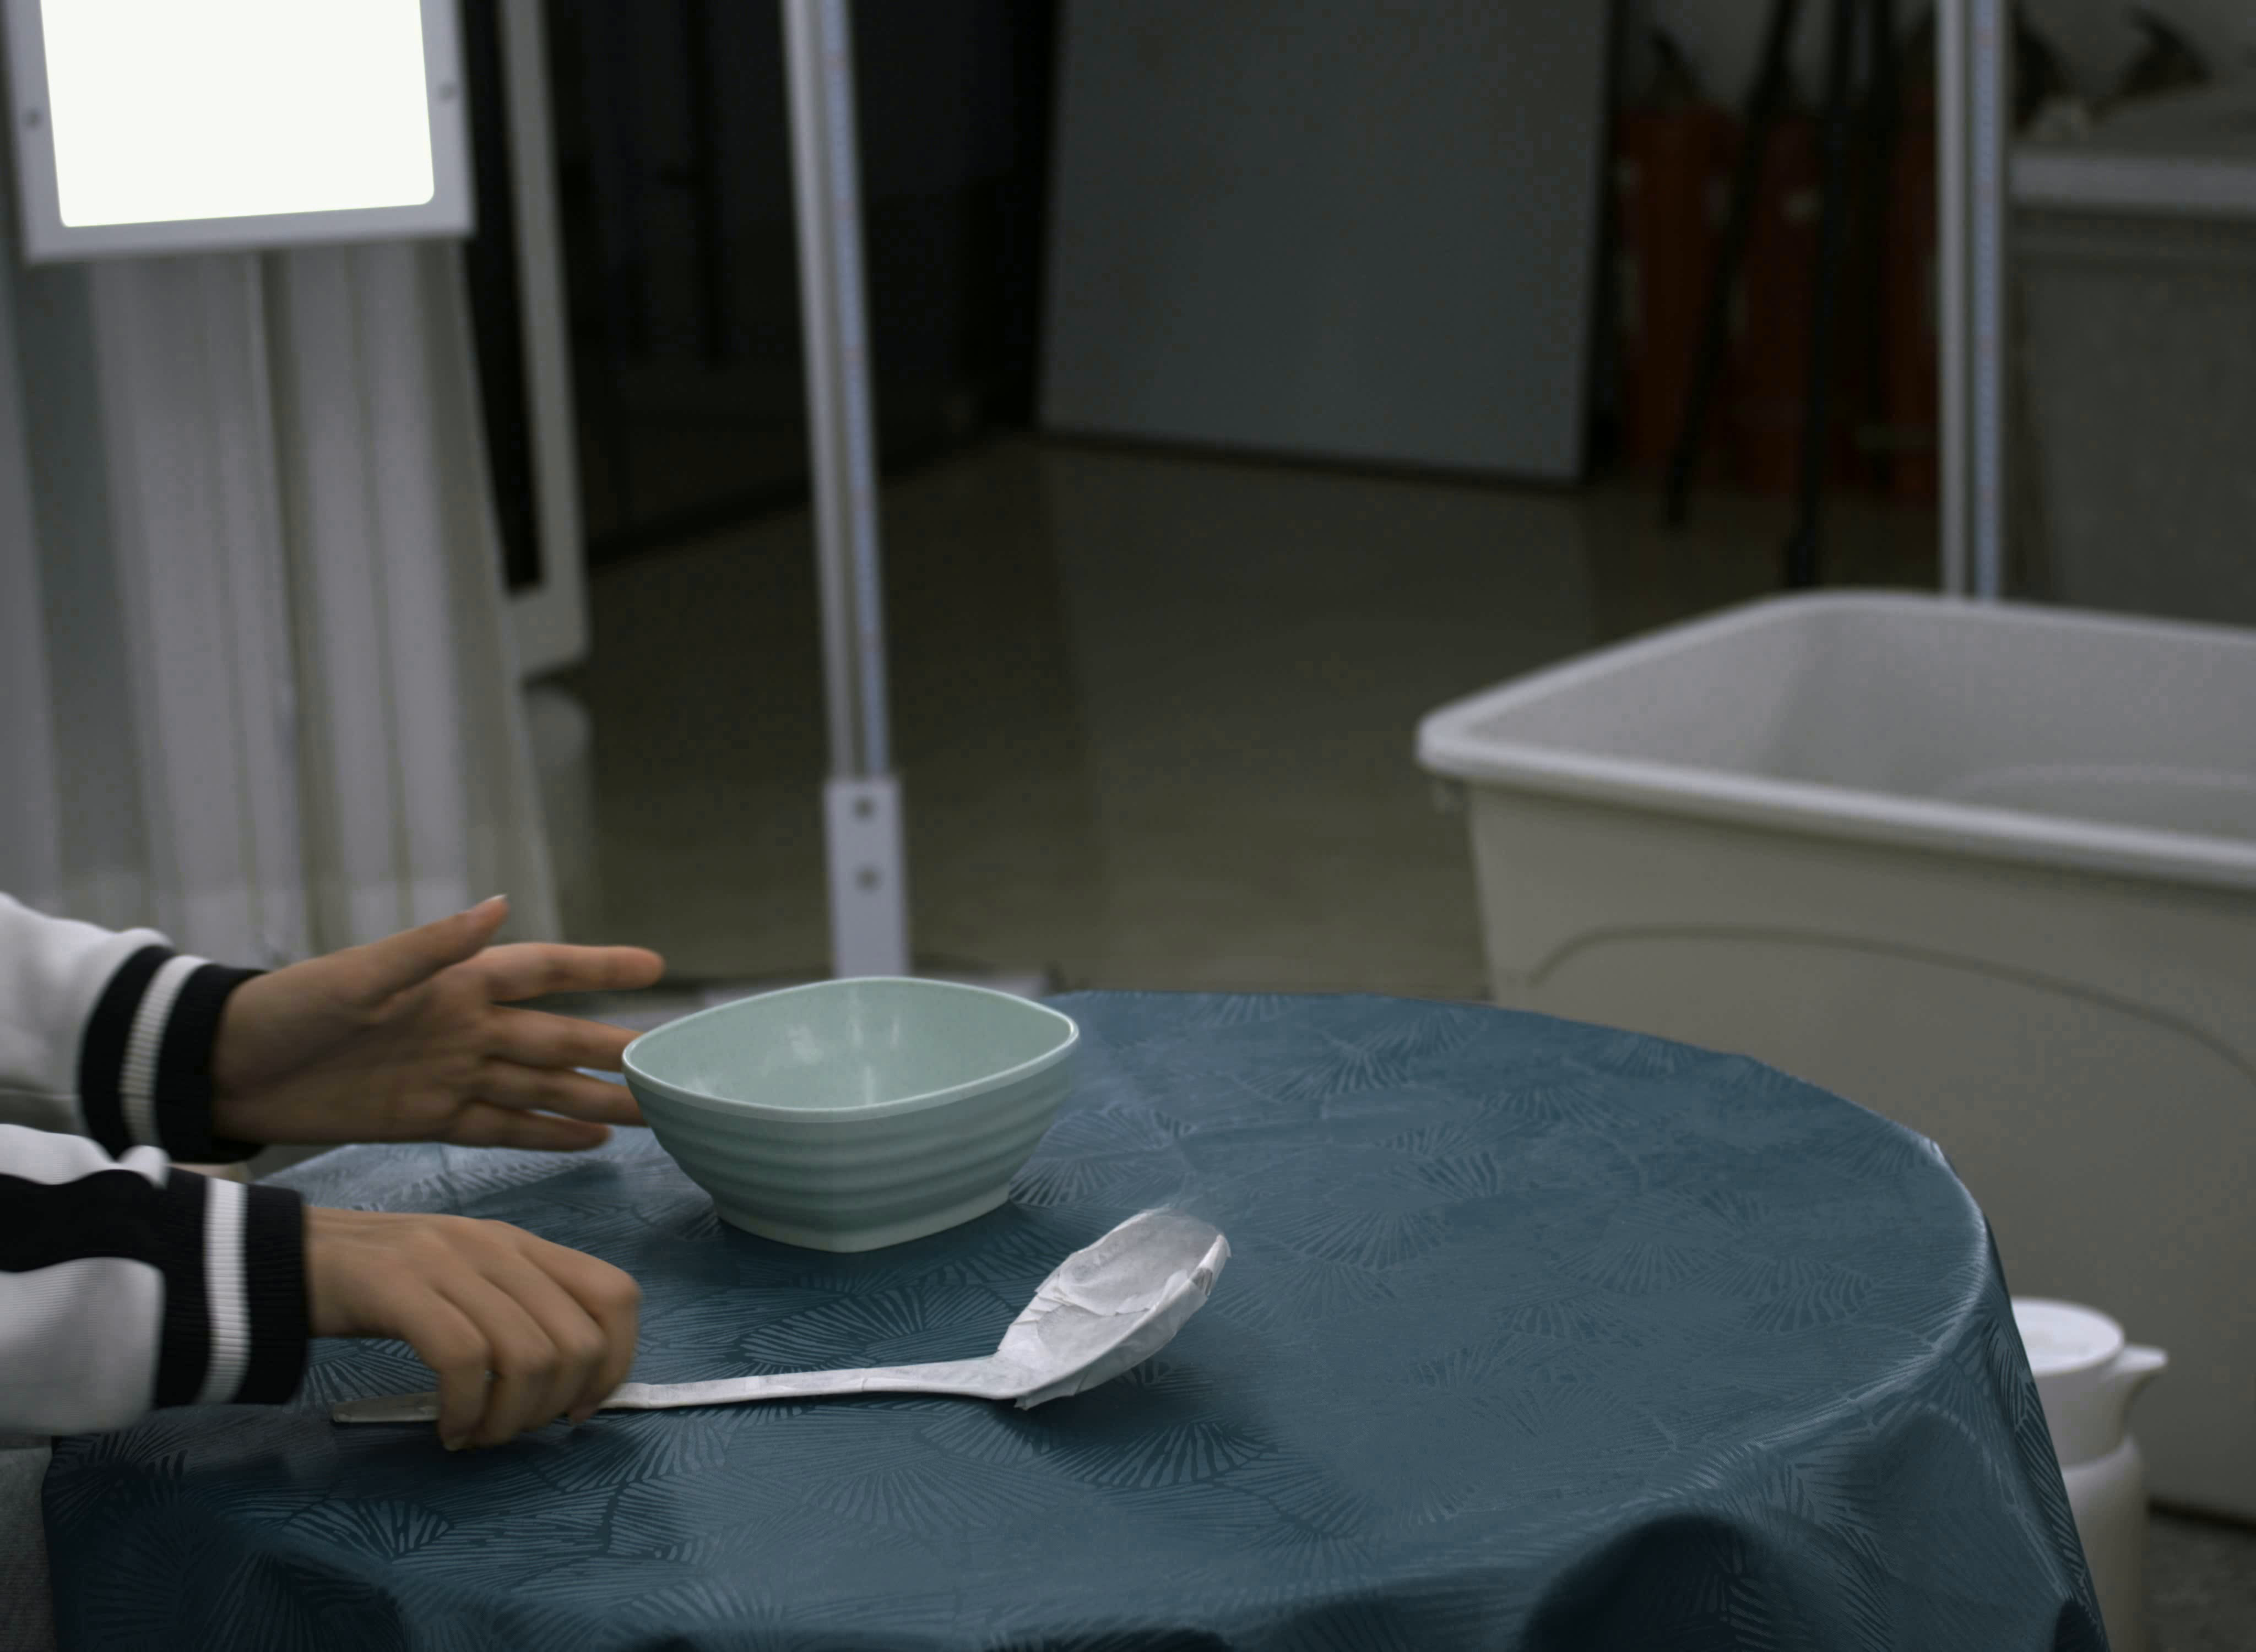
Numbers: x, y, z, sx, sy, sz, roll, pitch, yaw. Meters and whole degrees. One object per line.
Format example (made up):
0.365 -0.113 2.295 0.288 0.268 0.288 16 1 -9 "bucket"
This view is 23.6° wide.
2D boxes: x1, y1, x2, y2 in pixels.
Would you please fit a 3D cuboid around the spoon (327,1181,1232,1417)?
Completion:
-0.104 0.140 1.601 0.275 0.060 0.100 -2 12 7 "spoon"

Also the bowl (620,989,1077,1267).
-0.089 0.101 1.768 0.149 0.059 0.152 -4 14 0 "bowl"
